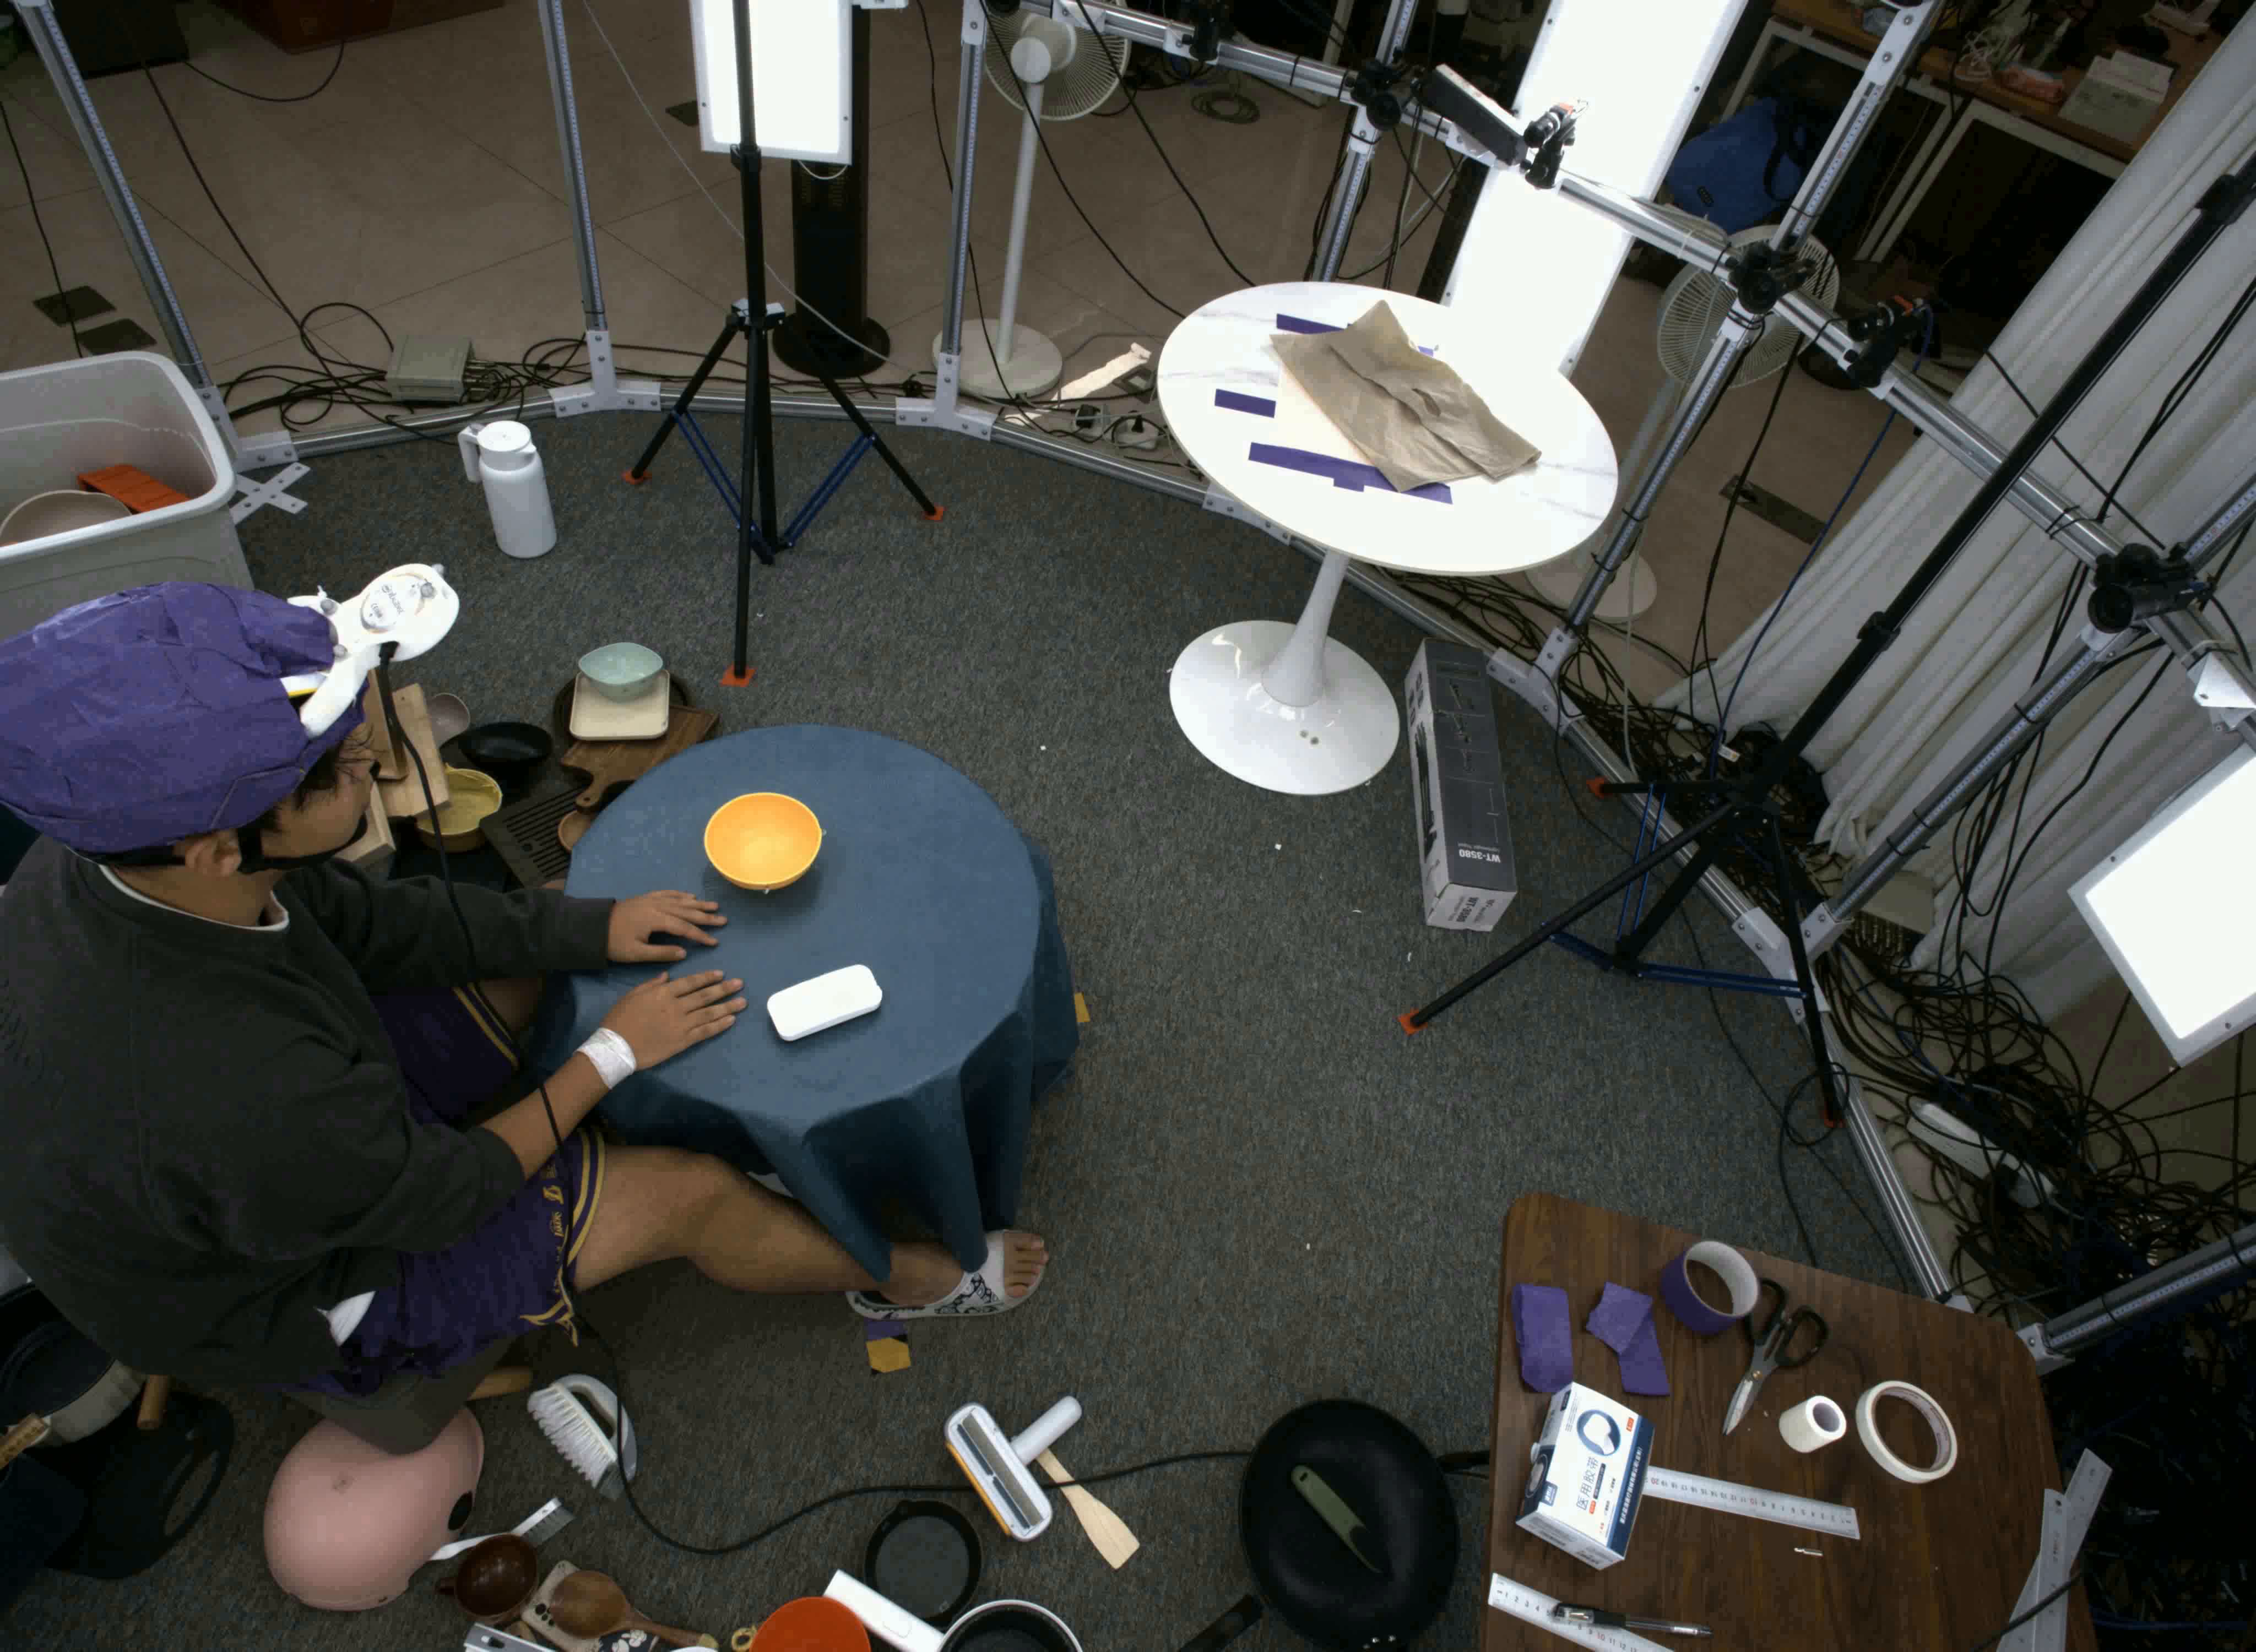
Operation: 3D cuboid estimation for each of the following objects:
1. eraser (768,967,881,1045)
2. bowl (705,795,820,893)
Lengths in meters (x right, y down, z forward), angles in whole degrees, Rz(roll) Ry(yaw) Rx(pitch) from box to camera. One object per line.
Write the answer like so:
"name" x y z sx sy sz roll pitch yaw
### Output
"eraser" -0.366 0.212 1.565 0.132 0.035 0.062 -18 59 -27
"bowl" -0.466 0.033 1.659 0.144 0.061 0.143 6 53 -6
